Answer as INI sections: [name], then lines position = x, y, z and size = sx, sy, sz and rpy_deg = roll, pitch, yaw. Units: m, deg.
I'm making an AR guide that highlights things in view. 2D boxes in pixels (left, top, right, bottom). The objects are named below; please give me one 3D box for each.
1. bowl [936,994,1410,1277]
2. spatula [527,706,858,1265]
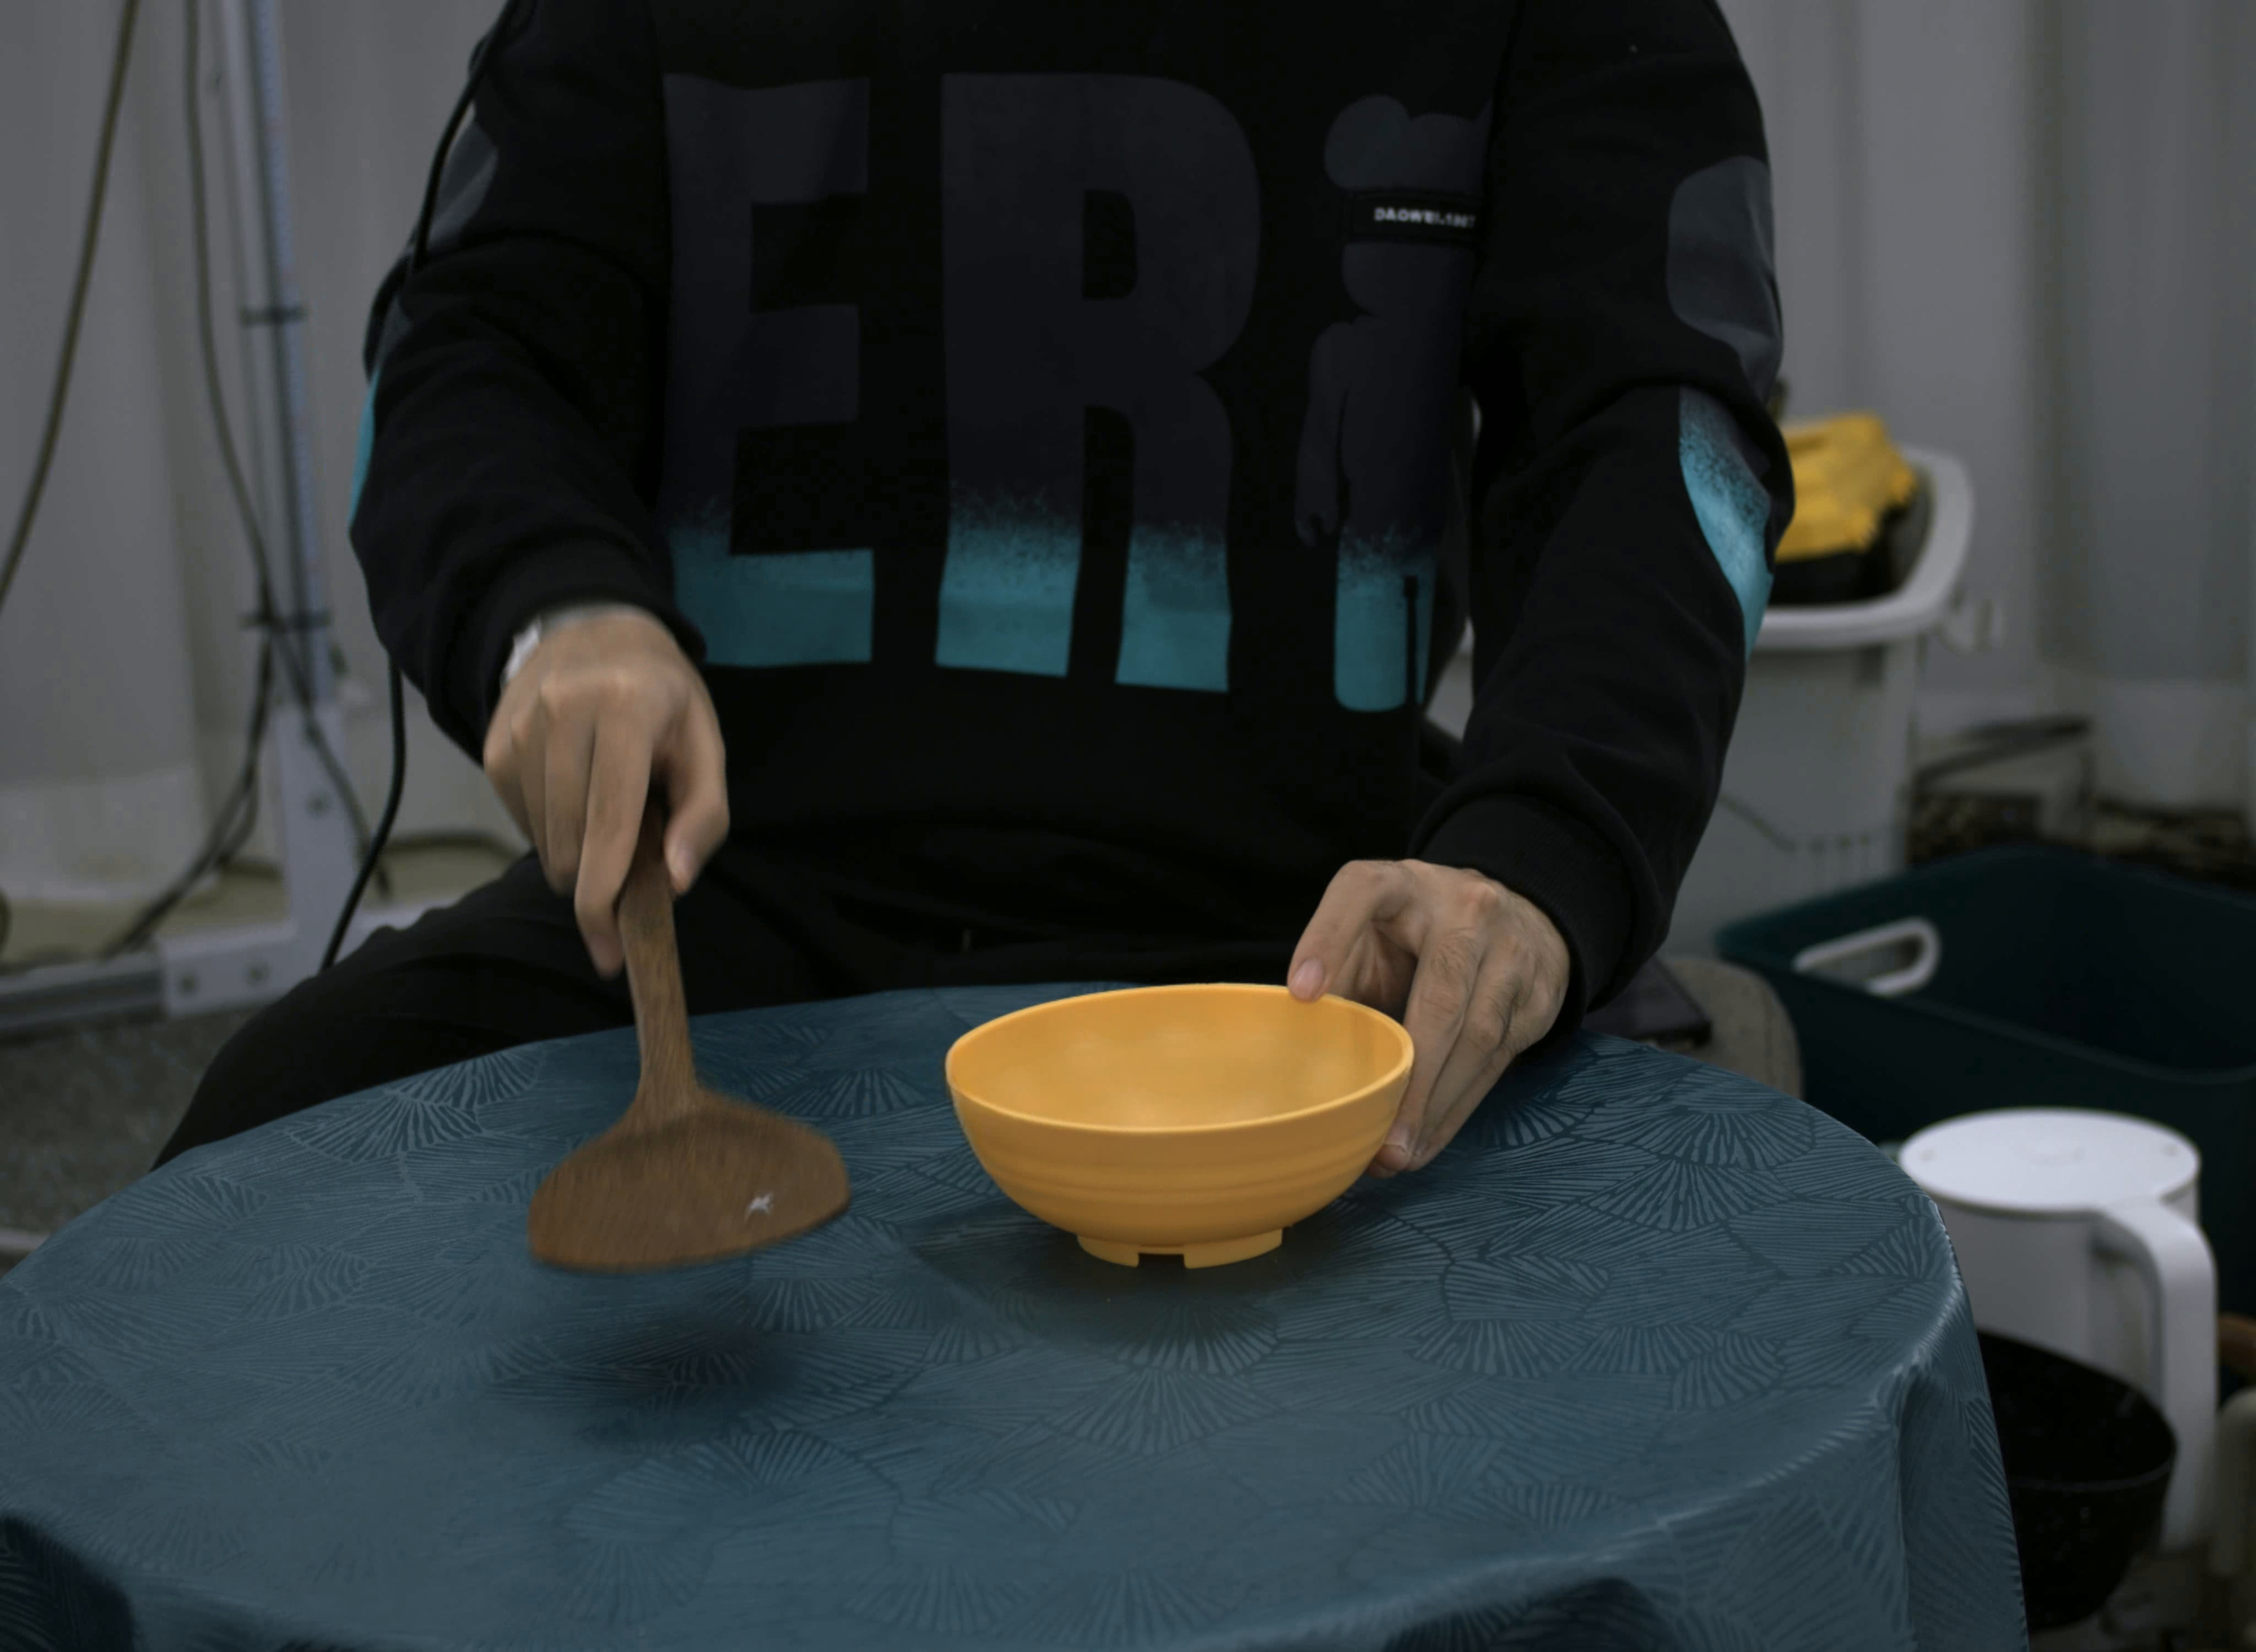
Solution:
[bowl]
position = 0.014, 0.099, 1.666
size = 0.145, 0.060, 0.146
rpy_deg = 0, 14, 0
[spatula]
position = -0.148, 0.040, 1.710
size = 0.096, 0.015, 0.390
rpy_deg = -10, 26, -5
